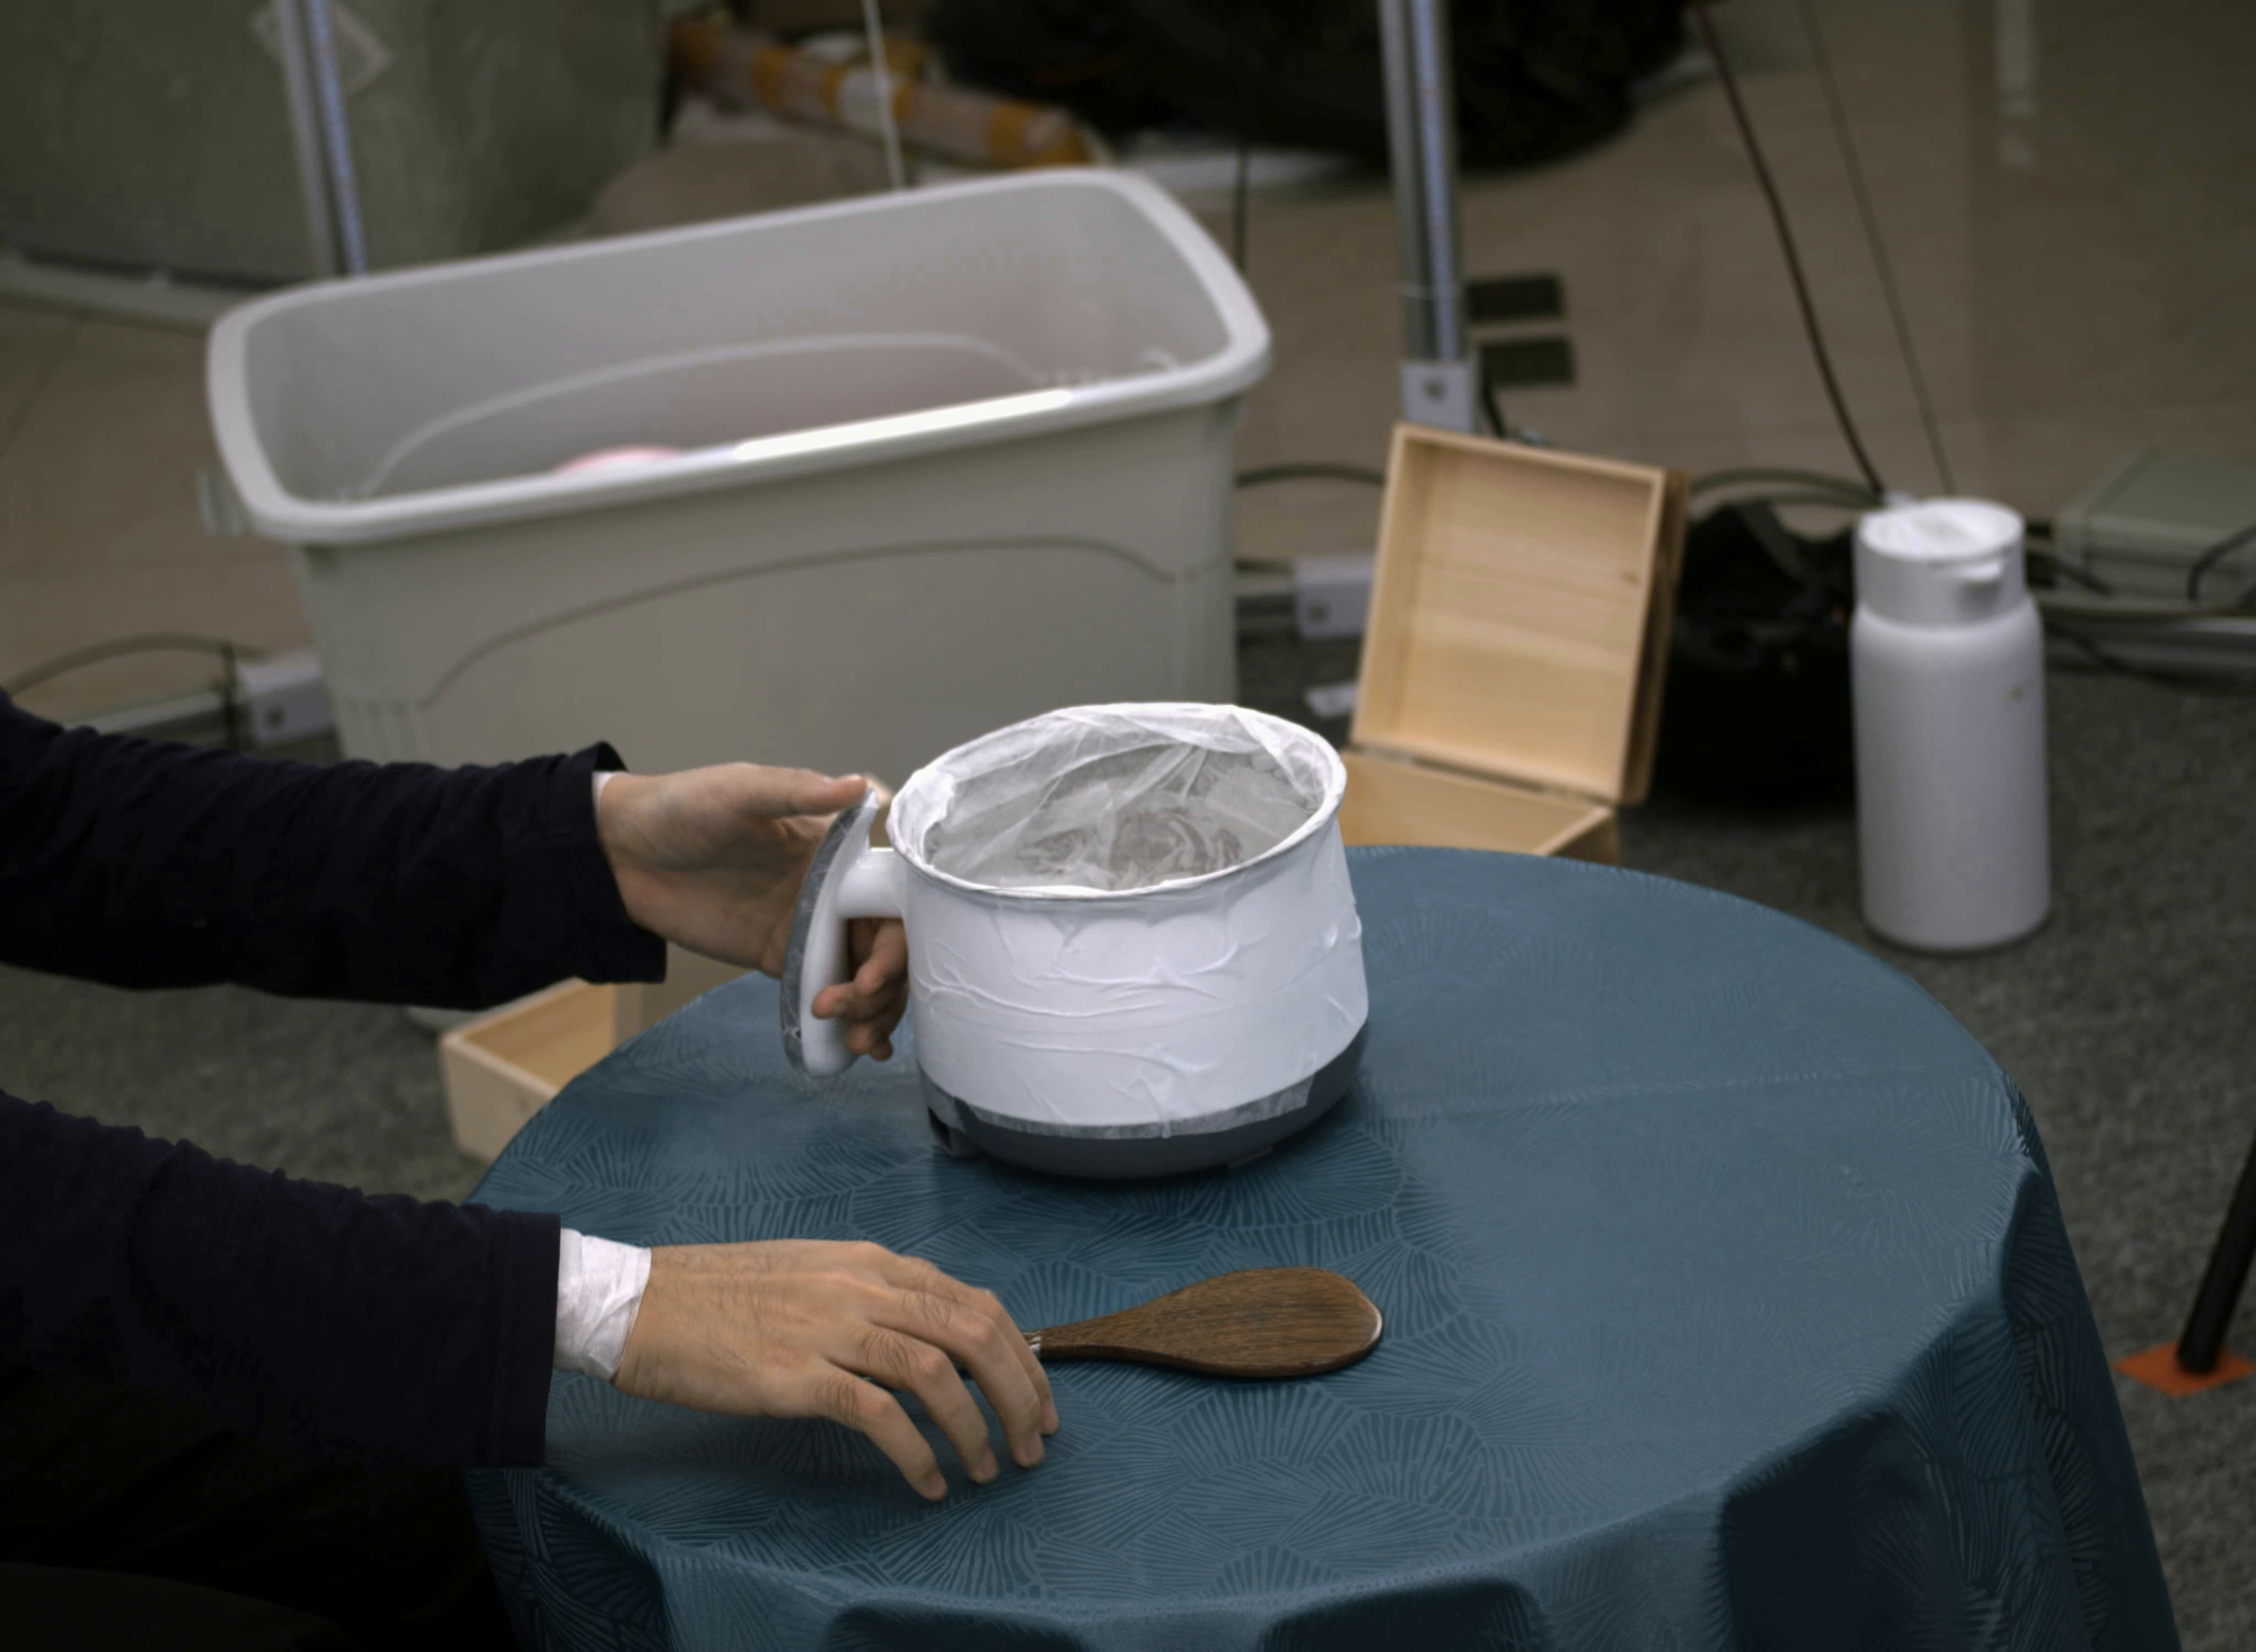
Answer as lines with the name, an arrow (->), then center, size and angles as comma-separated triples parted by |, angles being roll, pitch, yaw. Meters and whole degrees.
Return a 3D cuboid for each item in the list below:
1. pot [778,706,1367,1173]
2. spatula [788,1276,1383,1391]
pot -> -0.025, 0.045, 2.191 | 0.233, 0.138, 0.176 | 0, 23, 11
spatula -> -0.016, 0.188, 2.045 | 0.215, 0.009, 0.071 | -6, 23, 3
